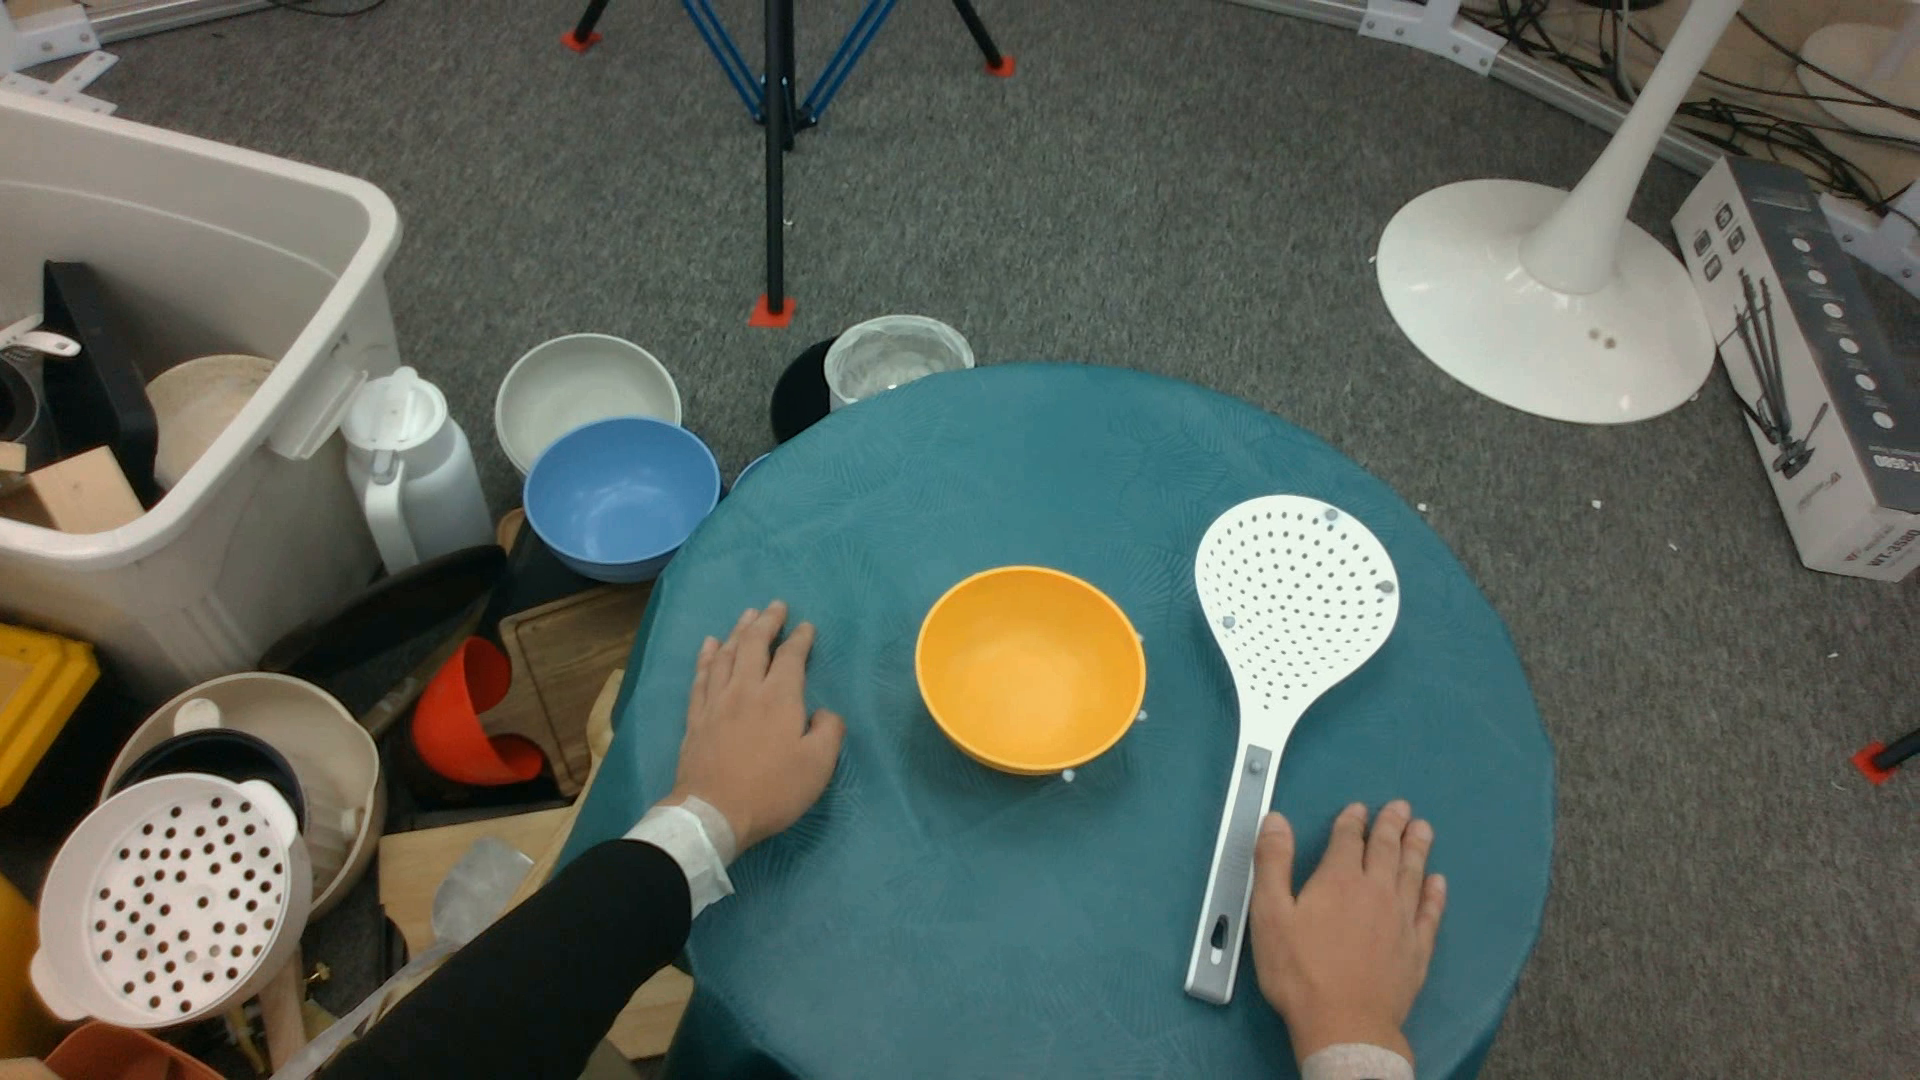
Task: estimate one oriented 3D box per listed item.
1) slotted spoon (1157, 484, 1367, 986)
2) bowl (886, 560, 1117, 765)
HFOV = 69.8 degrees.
[{"bbox_3d":[0.177,0.111,0.880,0.136,0.045,0.351,16,55,5],"label":"slotted spoon"},{"bbox_3d":[0.024,0.086,0.870,0.145,0.060,0.146,4,52,-5],"label":"bowl"}]
